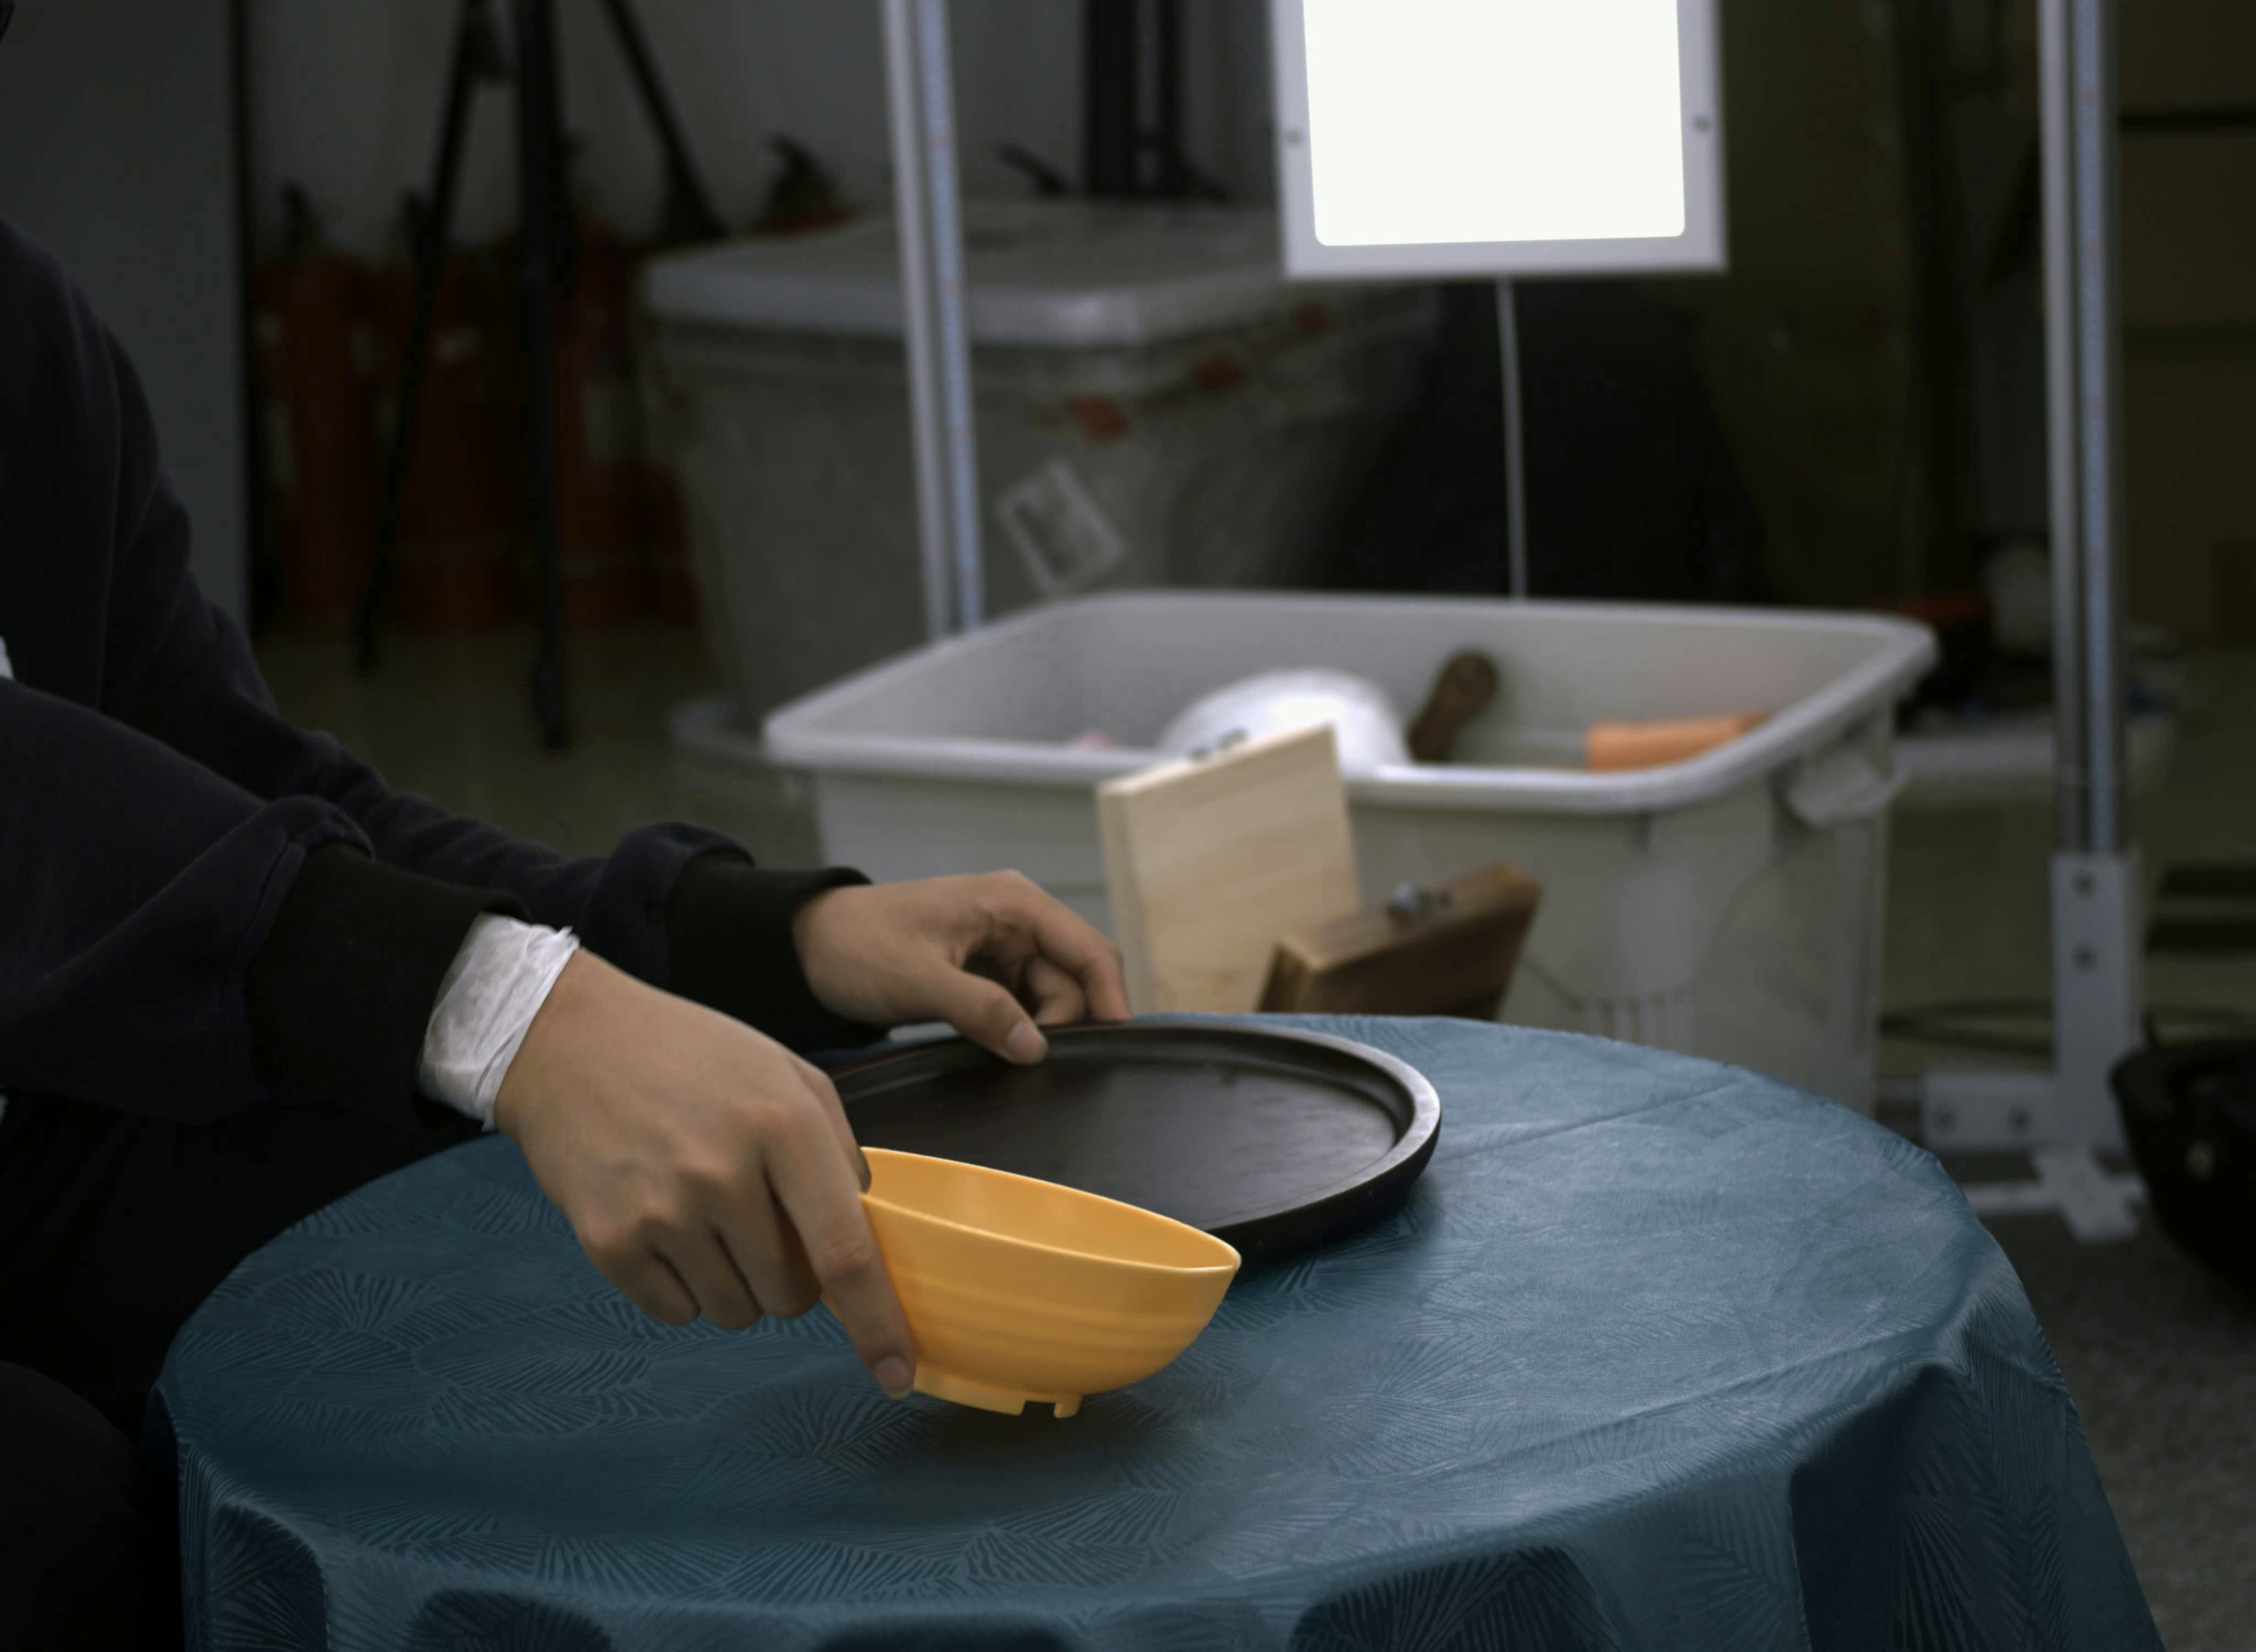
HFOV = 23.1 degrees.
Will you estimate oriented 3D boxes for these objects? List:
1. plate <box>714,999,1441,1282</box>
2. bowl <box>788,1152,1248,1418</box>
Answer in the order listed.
[{"bbox_3d":[-0.017,0.113,1.903,0.254,0.029,0.254,-6,16,0],"label":"plate"},{"bbox_3d":[-0.039,0.144,1.681,0.145,0.060,0.145,12,3,-2],"label":"bowl"}]
